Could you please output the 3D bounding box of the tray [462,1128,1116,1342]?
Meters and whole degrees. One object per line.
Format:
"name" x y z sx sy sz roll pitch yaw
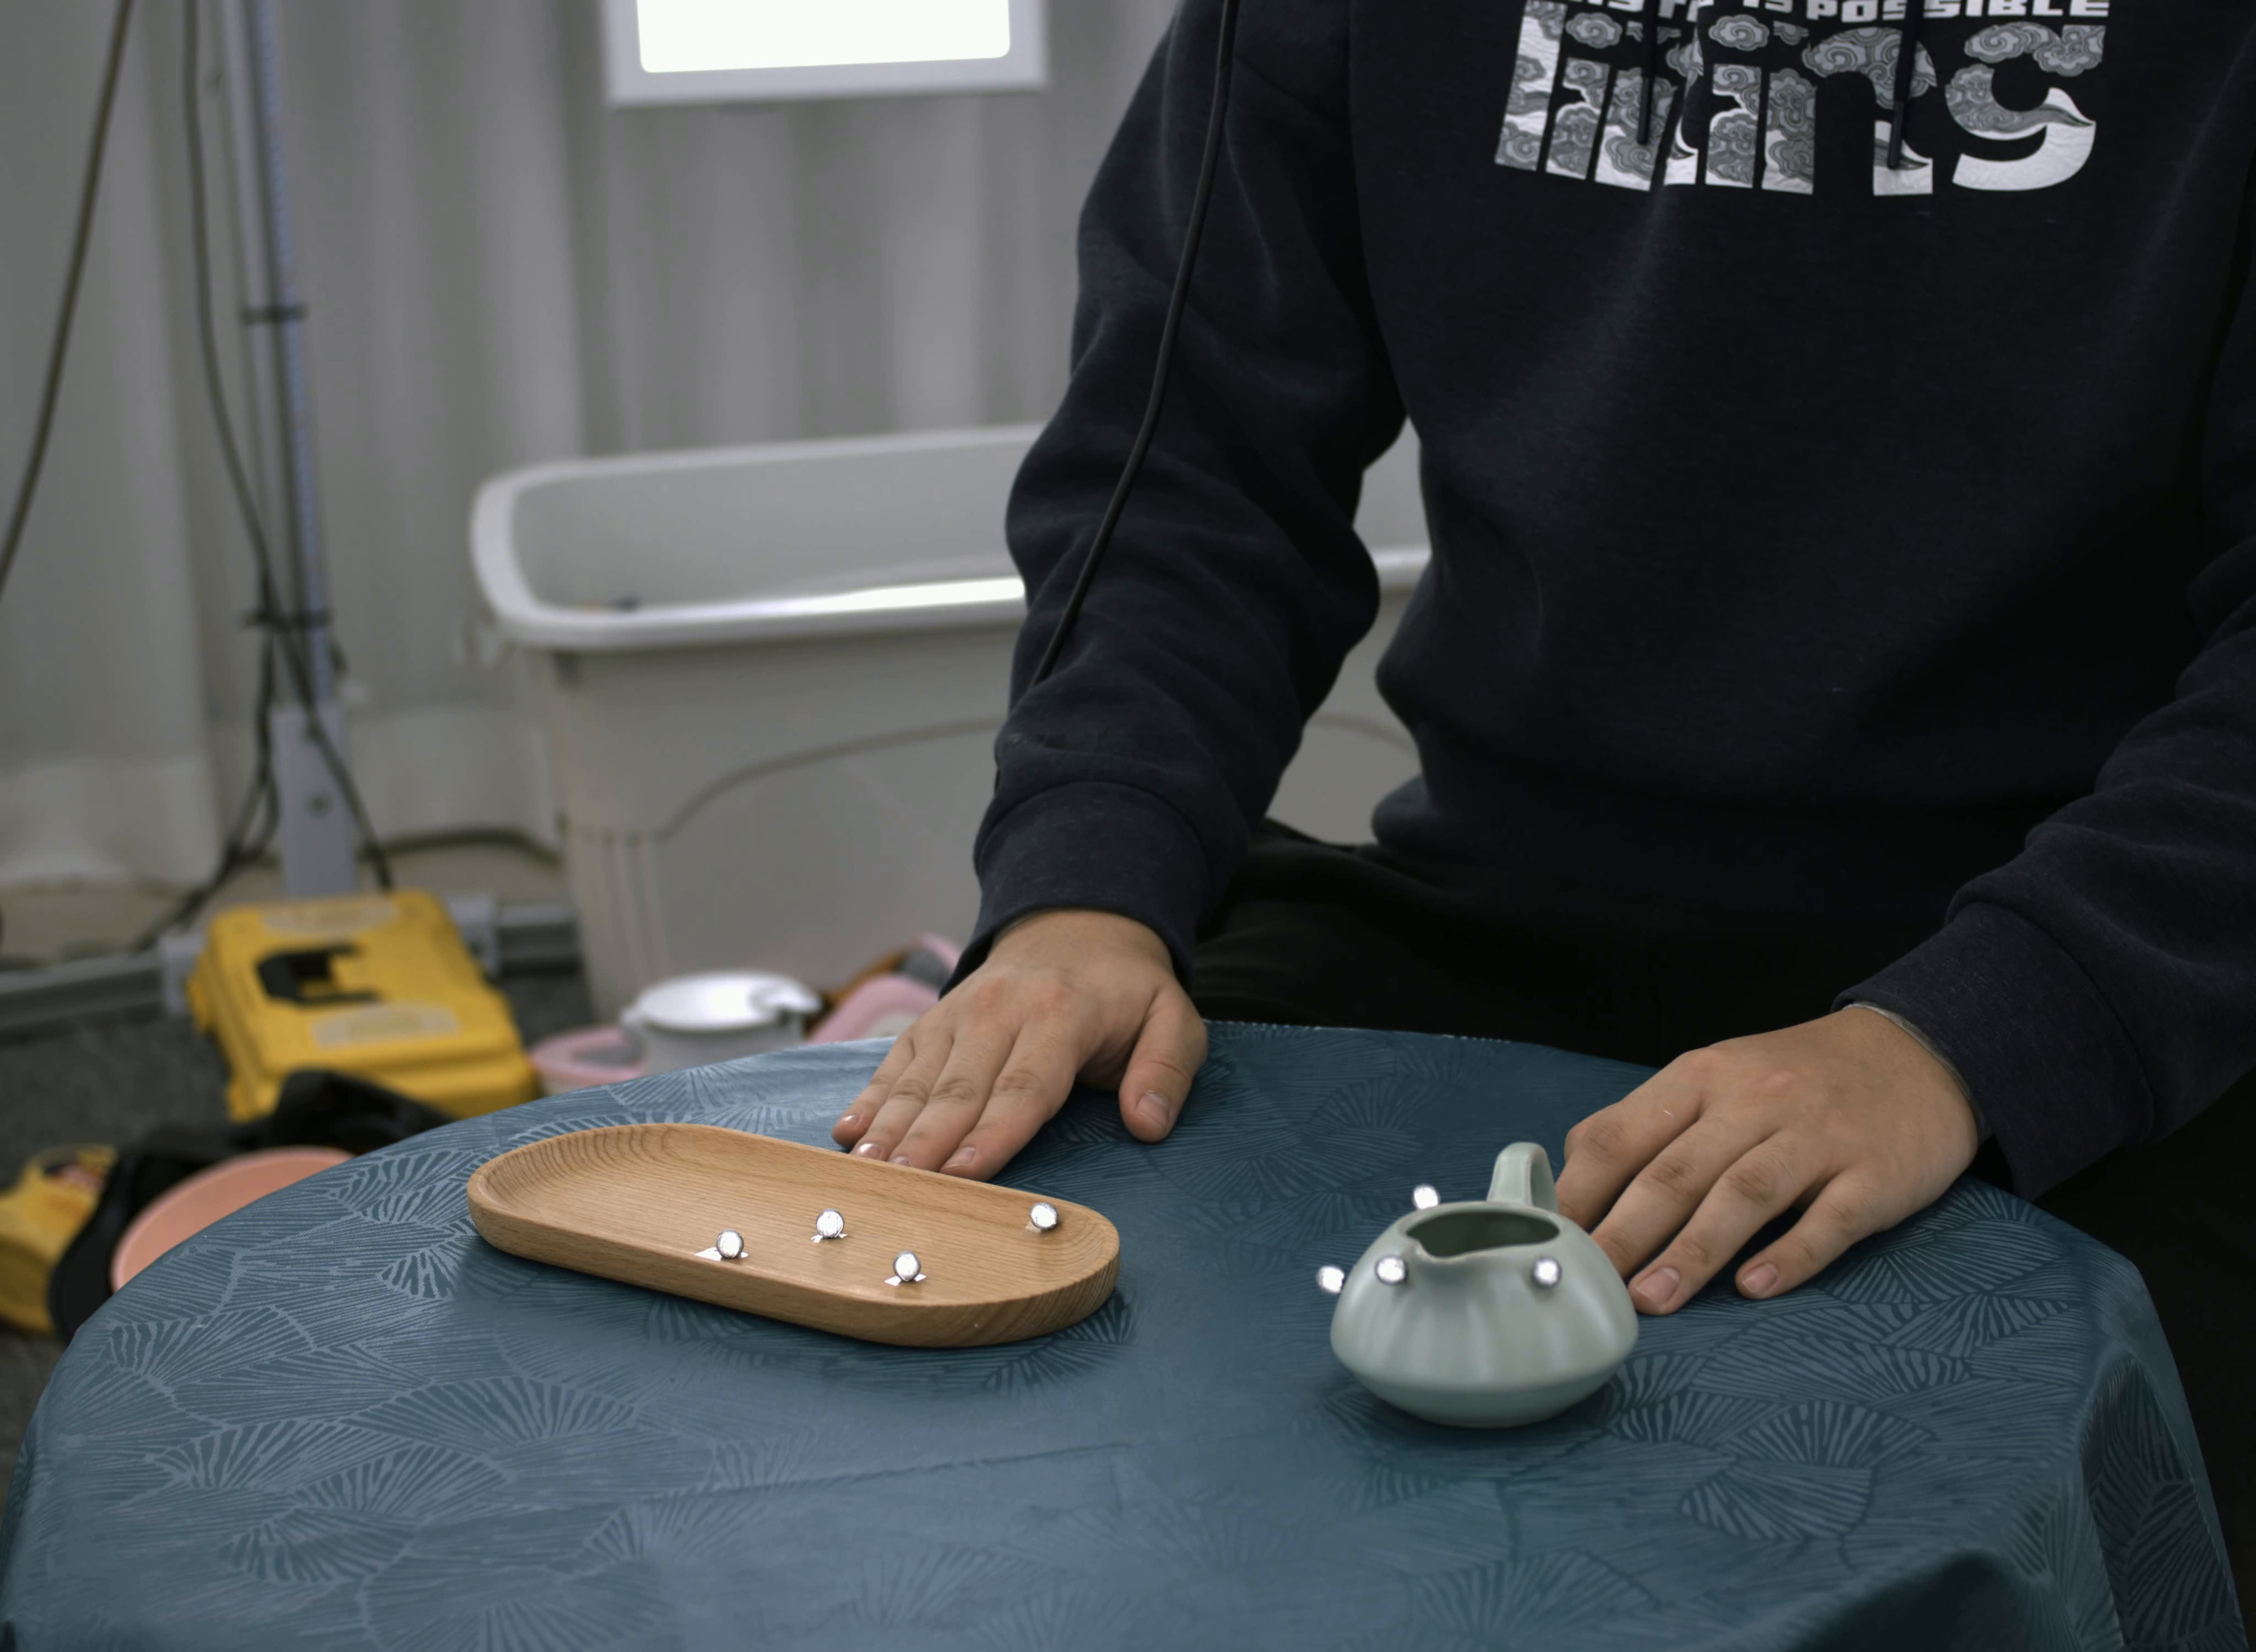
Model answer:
"tray" -0.105 0.124 1.670 0.232 0.020 0.101 7 16 37

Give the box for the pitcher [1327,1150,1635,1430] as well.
"pitcher" 0.101 0.131 1.533 0.086 0.060 0.108 3 13 16
